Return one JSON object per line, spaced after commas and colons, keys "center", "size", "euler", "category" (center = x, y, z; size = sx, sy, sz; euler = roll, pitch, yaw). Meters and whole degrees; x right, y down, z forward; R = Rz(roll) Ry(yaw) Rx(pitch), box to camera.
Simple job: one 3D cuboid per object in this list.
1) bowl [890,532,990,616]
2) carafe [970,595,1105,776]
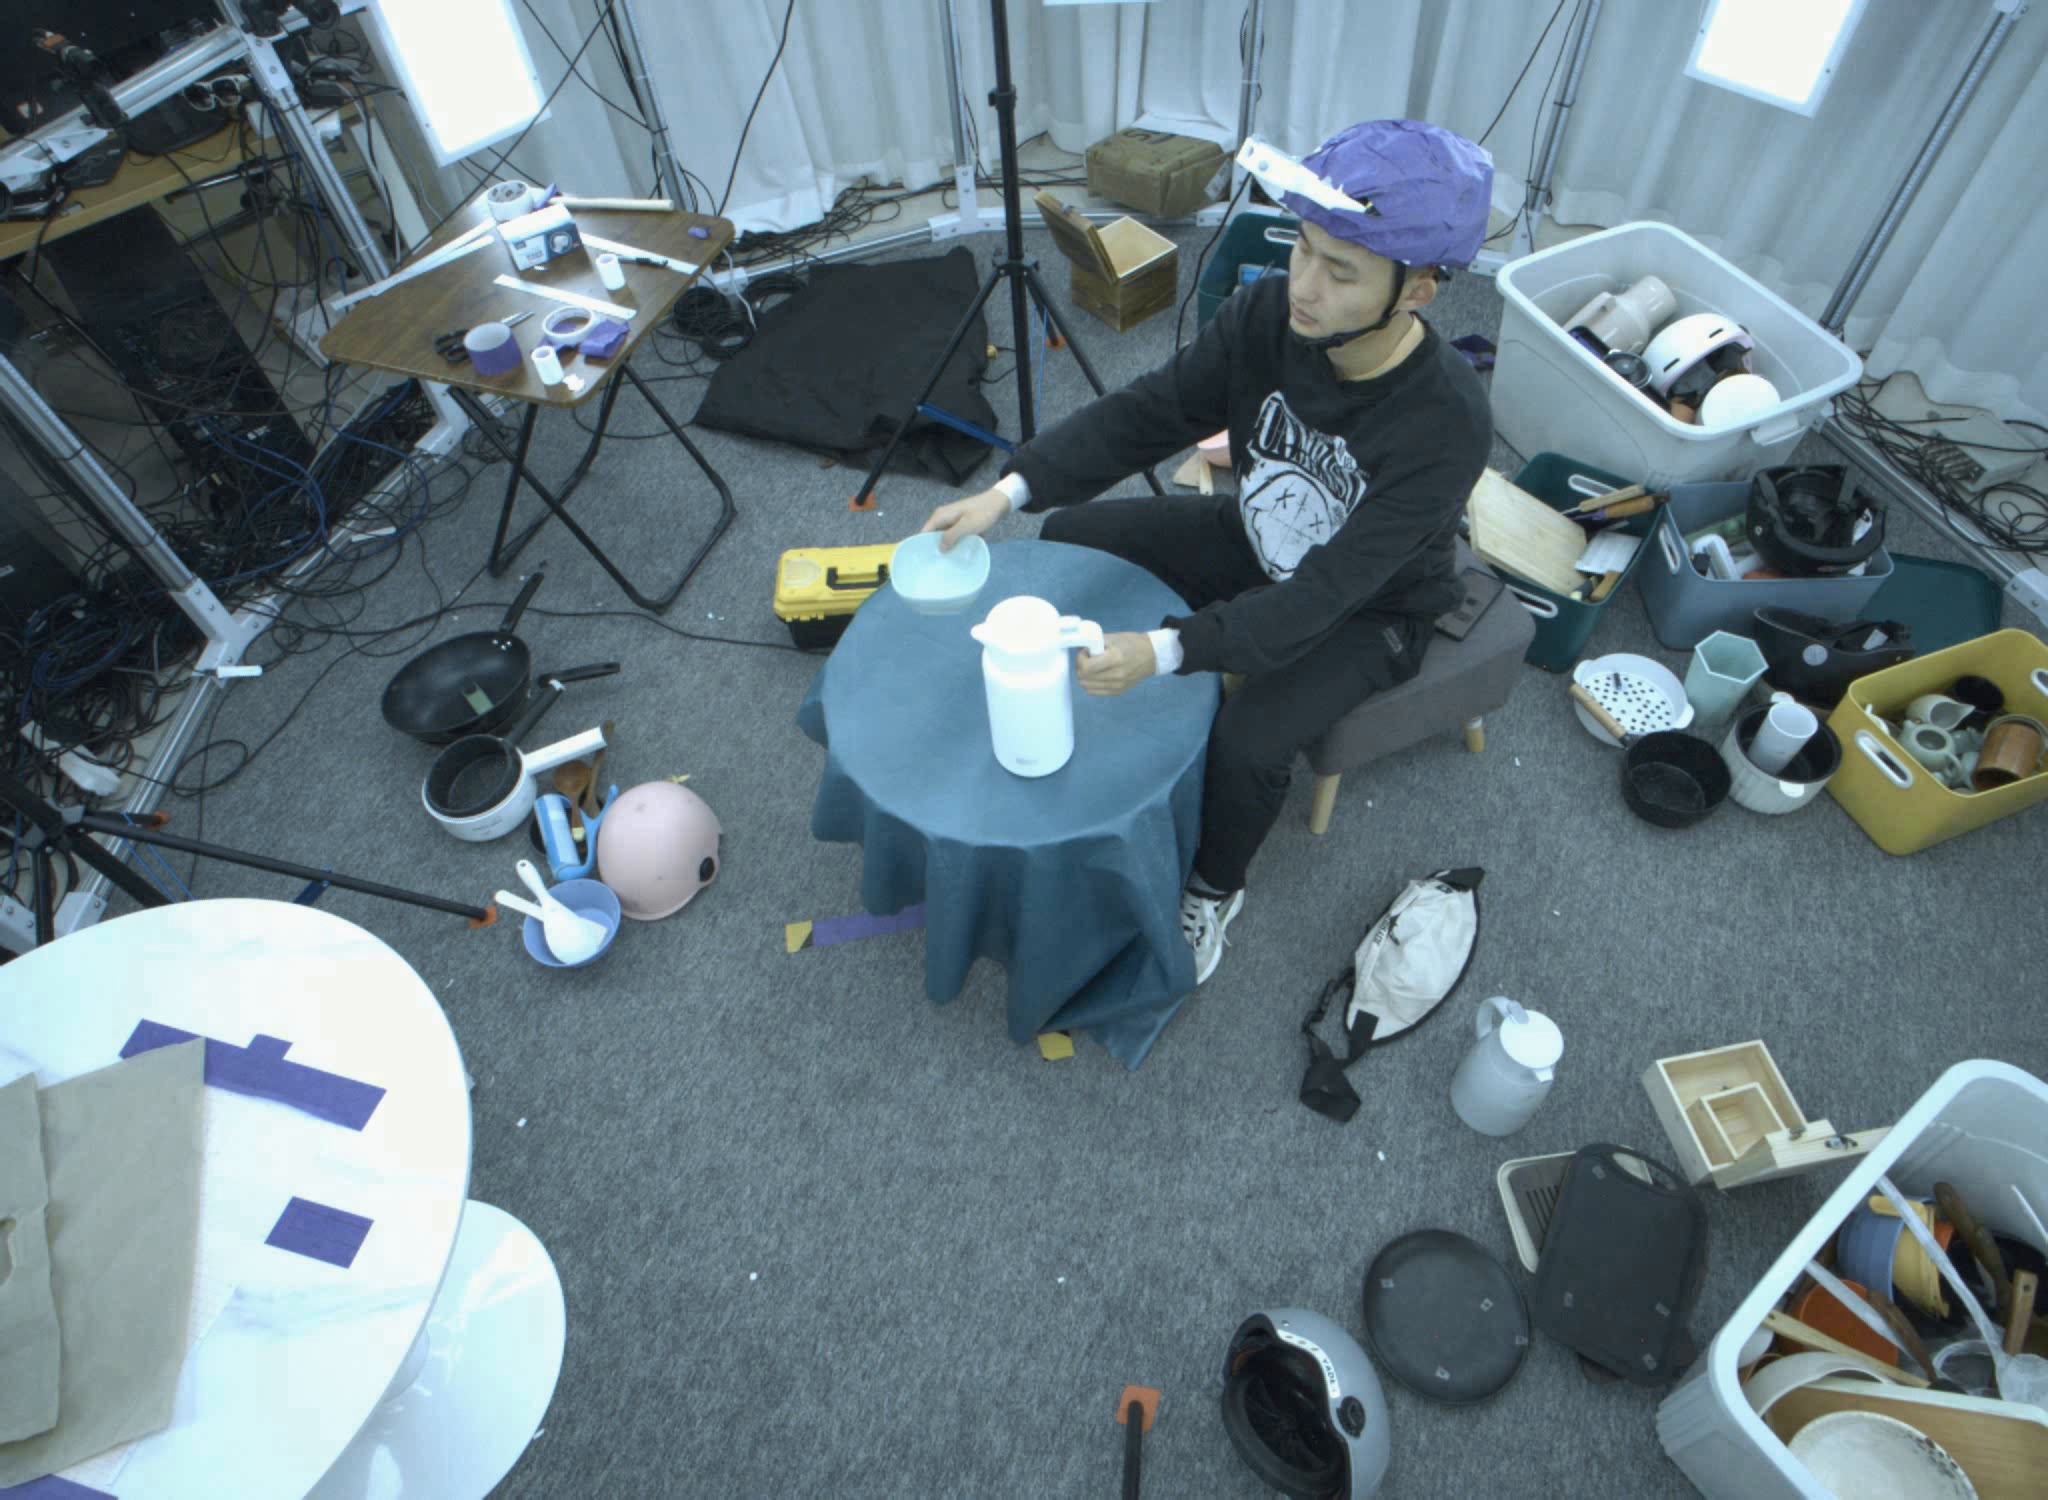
{"center": [-0.115, -0.237, 1.711], "size": [0.151, 0.059, 0.150], "euler": [-1, 51, 2], "category": "bowl"}
{"center": [0.023, -0.086, 1.679], "size": [0.173, 0.272, 0.122], "euler": [-5, 52, 0], "category": "carafe"}
